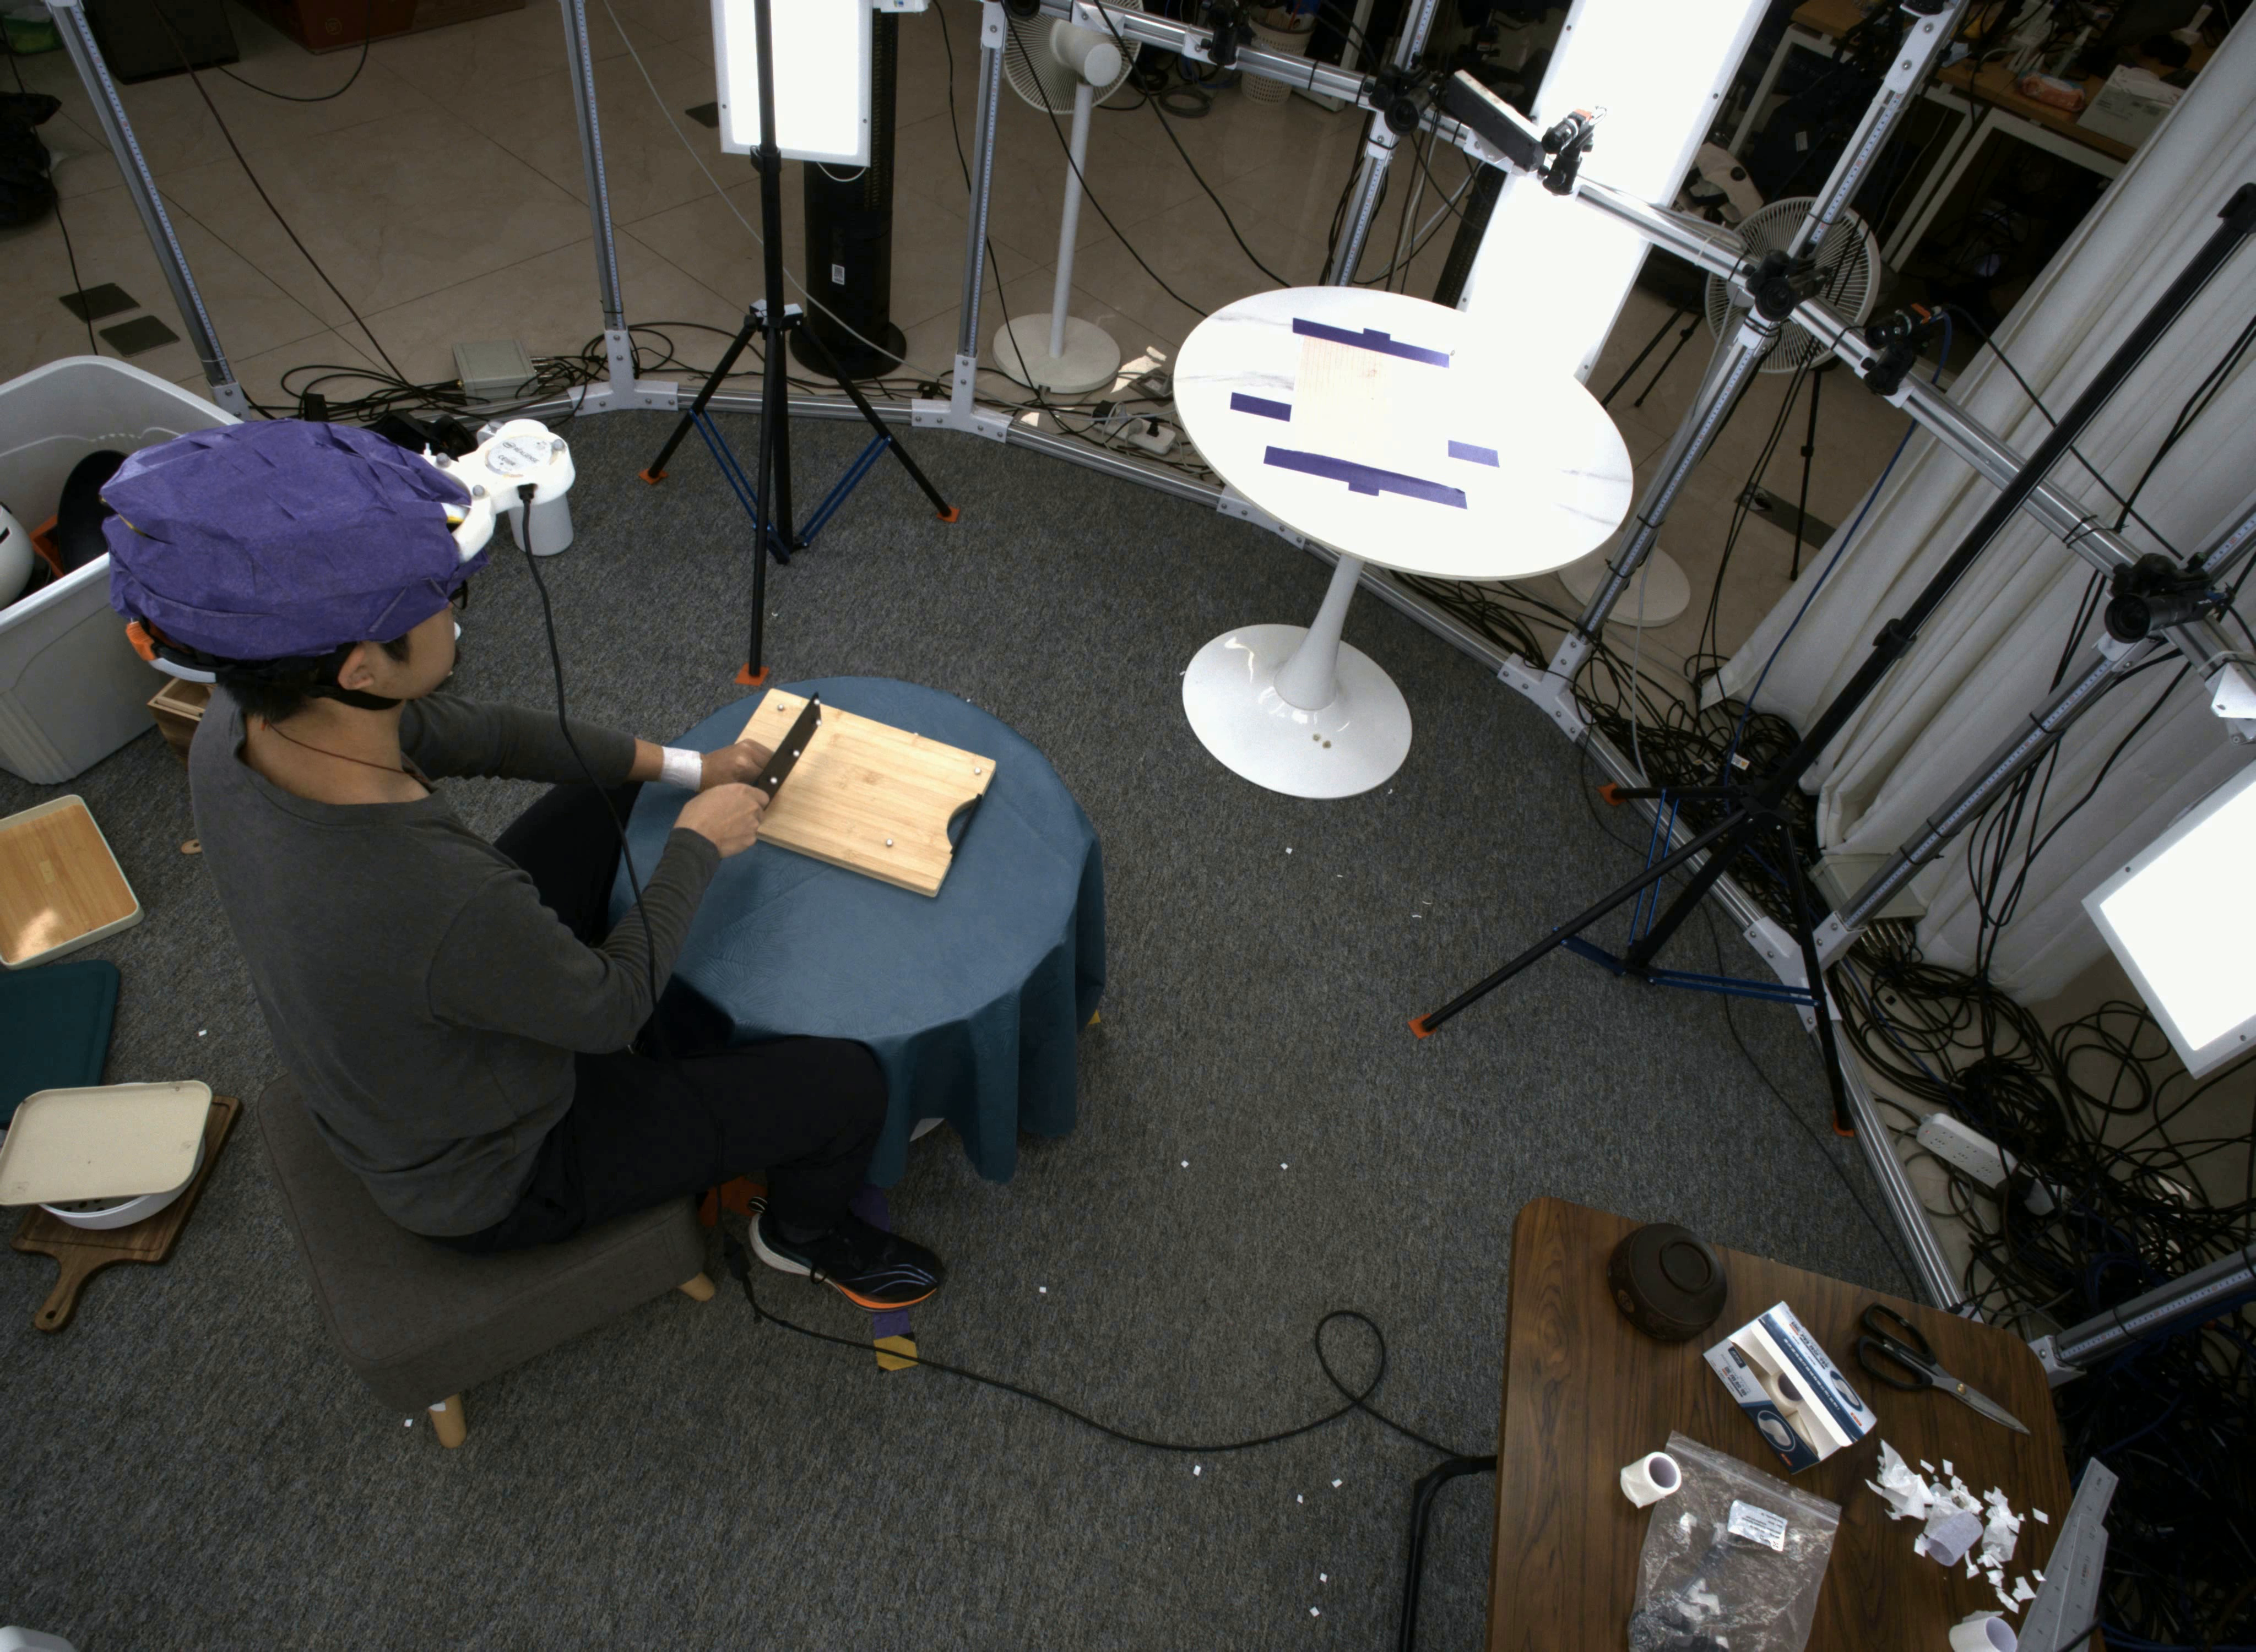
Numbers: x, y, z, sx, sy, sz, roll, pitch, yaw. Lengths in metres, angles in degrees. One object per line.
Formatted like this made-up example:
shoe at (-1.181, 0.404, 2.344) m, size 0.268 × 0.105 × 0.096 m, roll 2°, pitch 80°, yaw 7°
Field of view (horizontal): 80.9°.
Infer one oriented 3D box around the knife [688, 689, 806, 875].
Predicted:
knife at (-0.482, -0.056, 1.657) m, size 0.020 × 0.083 × 0.299 m, roll 15°, pitch 49°, yaw 8°

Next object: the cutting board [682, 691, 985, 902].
cutting board at (-0.394, -0.047, 1.767) m, size 0.346 × 0.024 × 0.248 m, roll 17°, pitch 52°, yaw -1°
